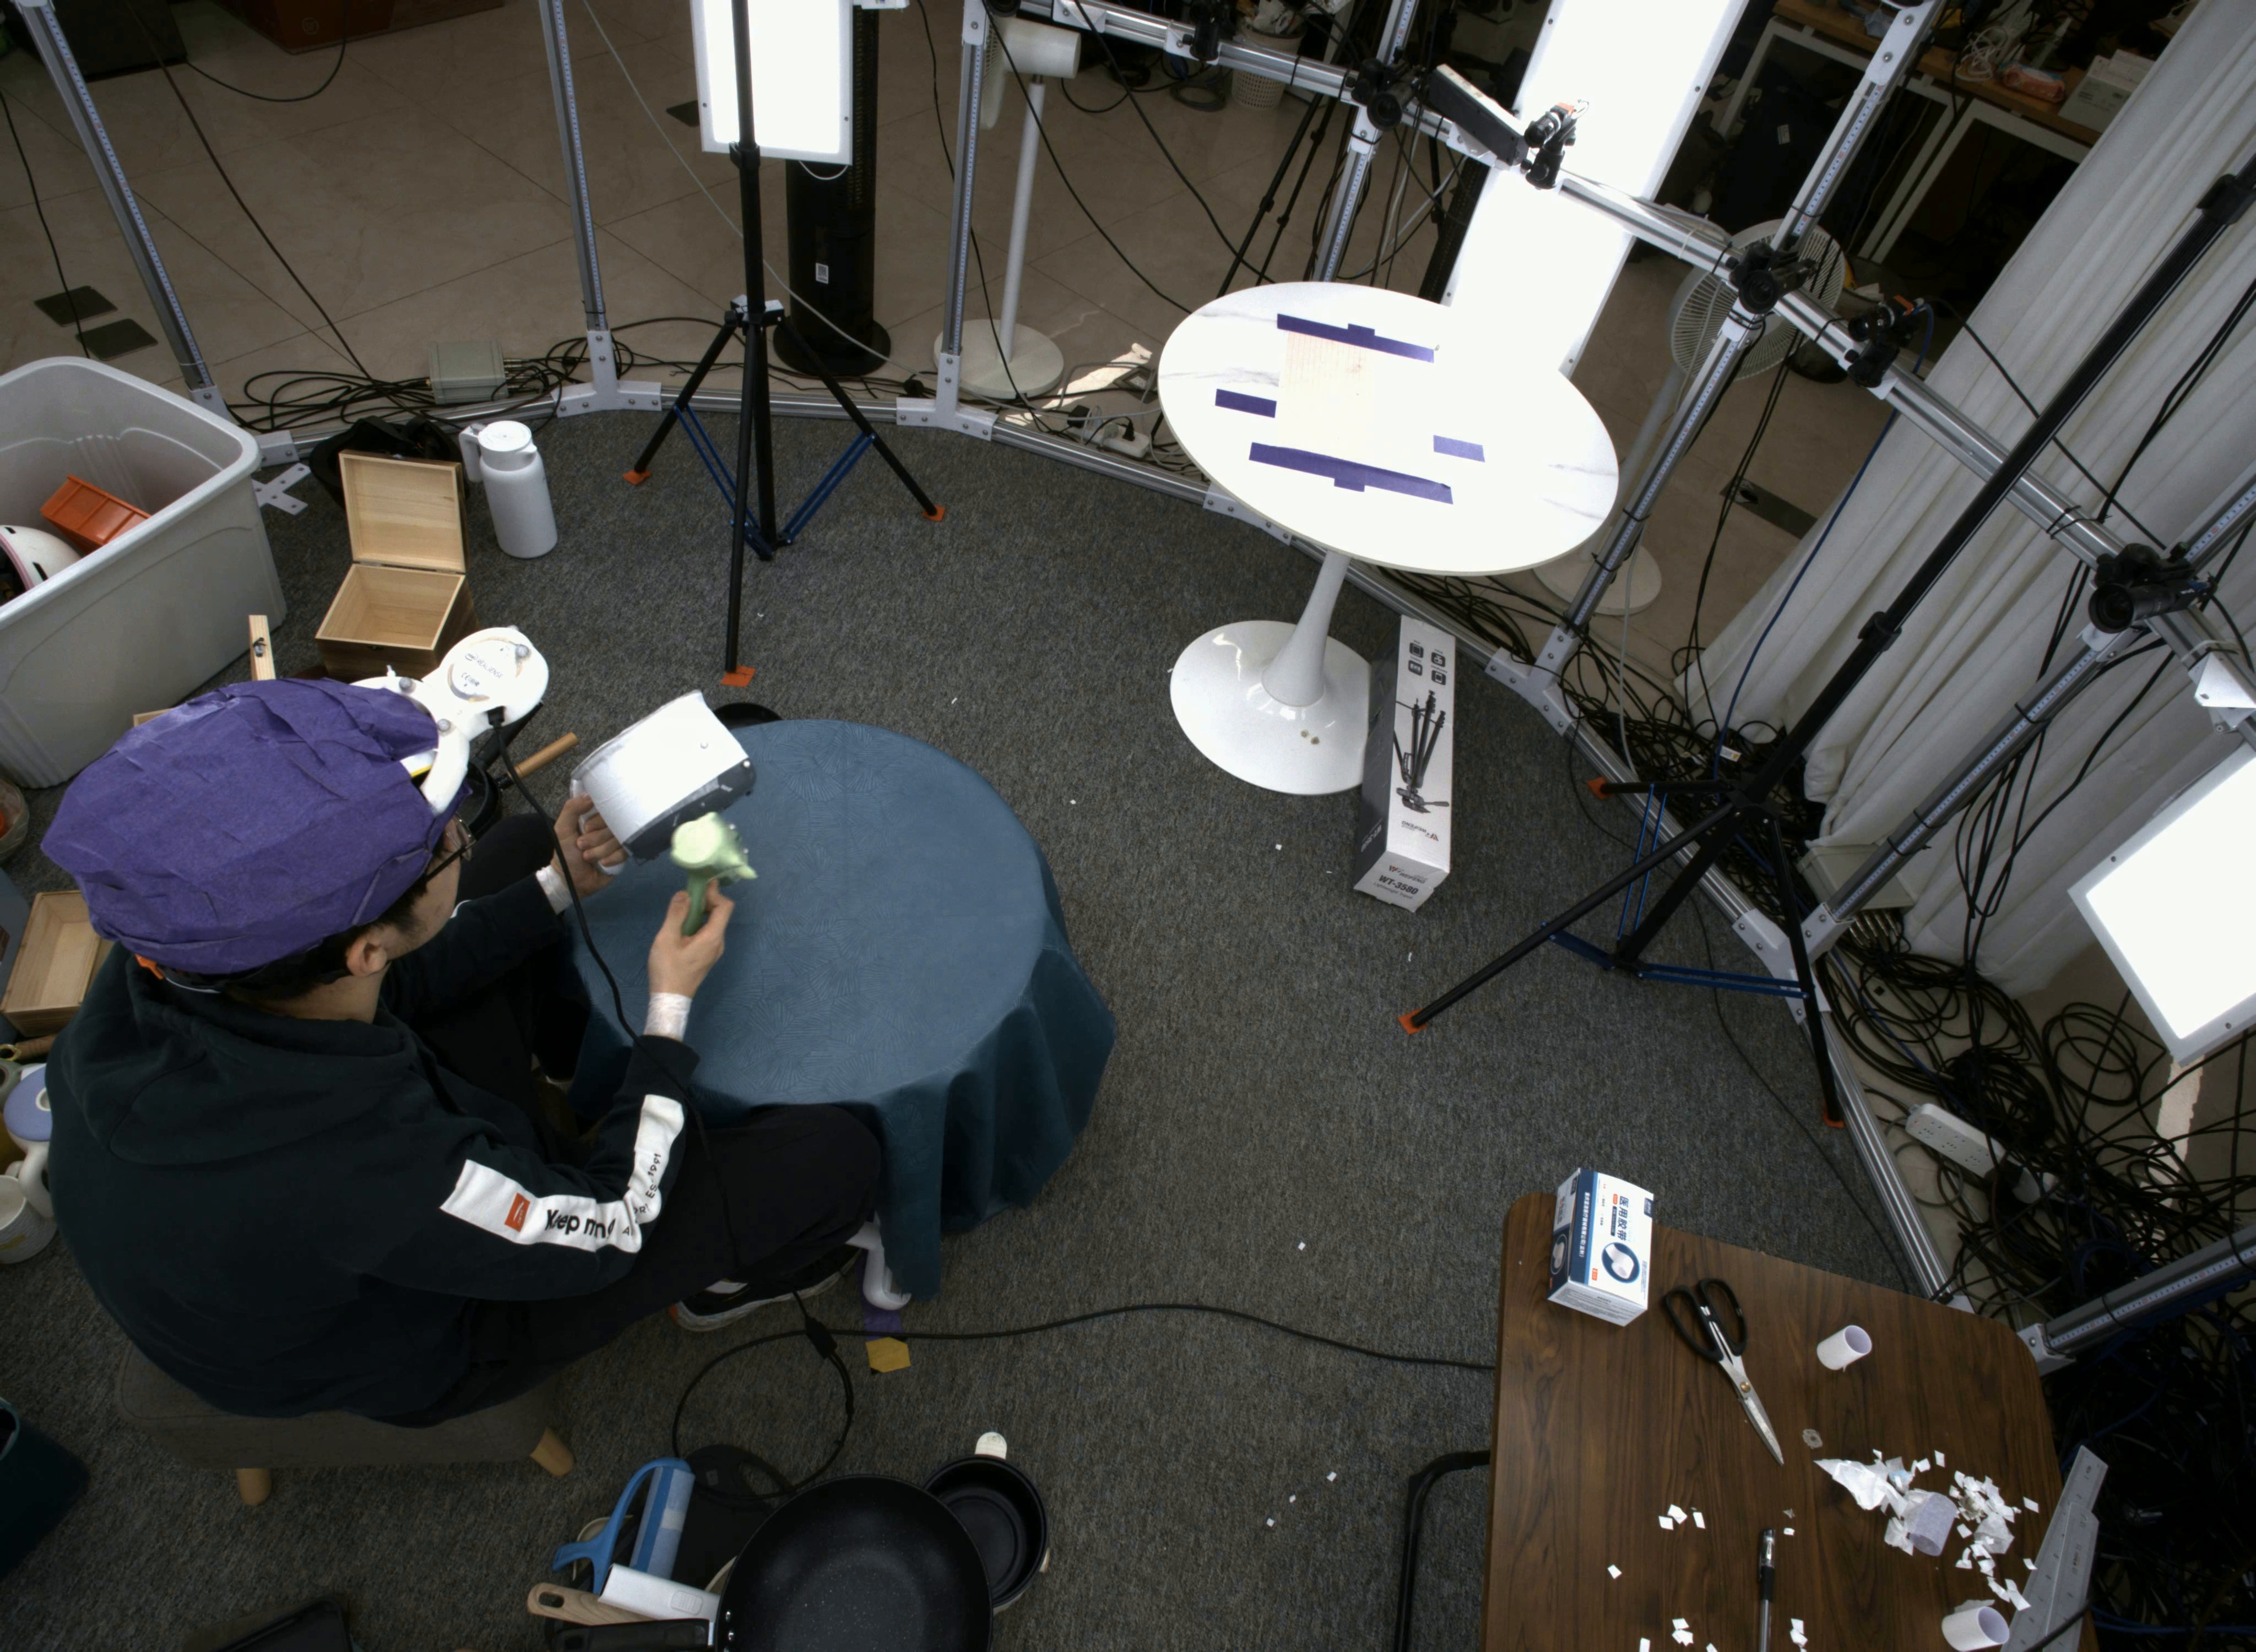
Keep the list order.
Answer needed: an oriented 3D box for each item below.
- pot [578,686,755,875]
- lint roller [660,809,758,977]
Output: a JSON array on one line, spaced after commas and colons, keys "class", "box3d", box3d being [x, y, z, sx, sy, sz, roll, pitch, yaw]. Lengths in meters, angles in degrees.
[{"class": "pot", "box3d": [-0.557, -0.045, 1.498, 0.139, 0.231, 0.177, 56, 15, -9]}, {"class": "lint roller", "box3d": [-0.477, 0.083, 1.472, 0.082, 0.198, 0.184, 10, 81, -8]}]
